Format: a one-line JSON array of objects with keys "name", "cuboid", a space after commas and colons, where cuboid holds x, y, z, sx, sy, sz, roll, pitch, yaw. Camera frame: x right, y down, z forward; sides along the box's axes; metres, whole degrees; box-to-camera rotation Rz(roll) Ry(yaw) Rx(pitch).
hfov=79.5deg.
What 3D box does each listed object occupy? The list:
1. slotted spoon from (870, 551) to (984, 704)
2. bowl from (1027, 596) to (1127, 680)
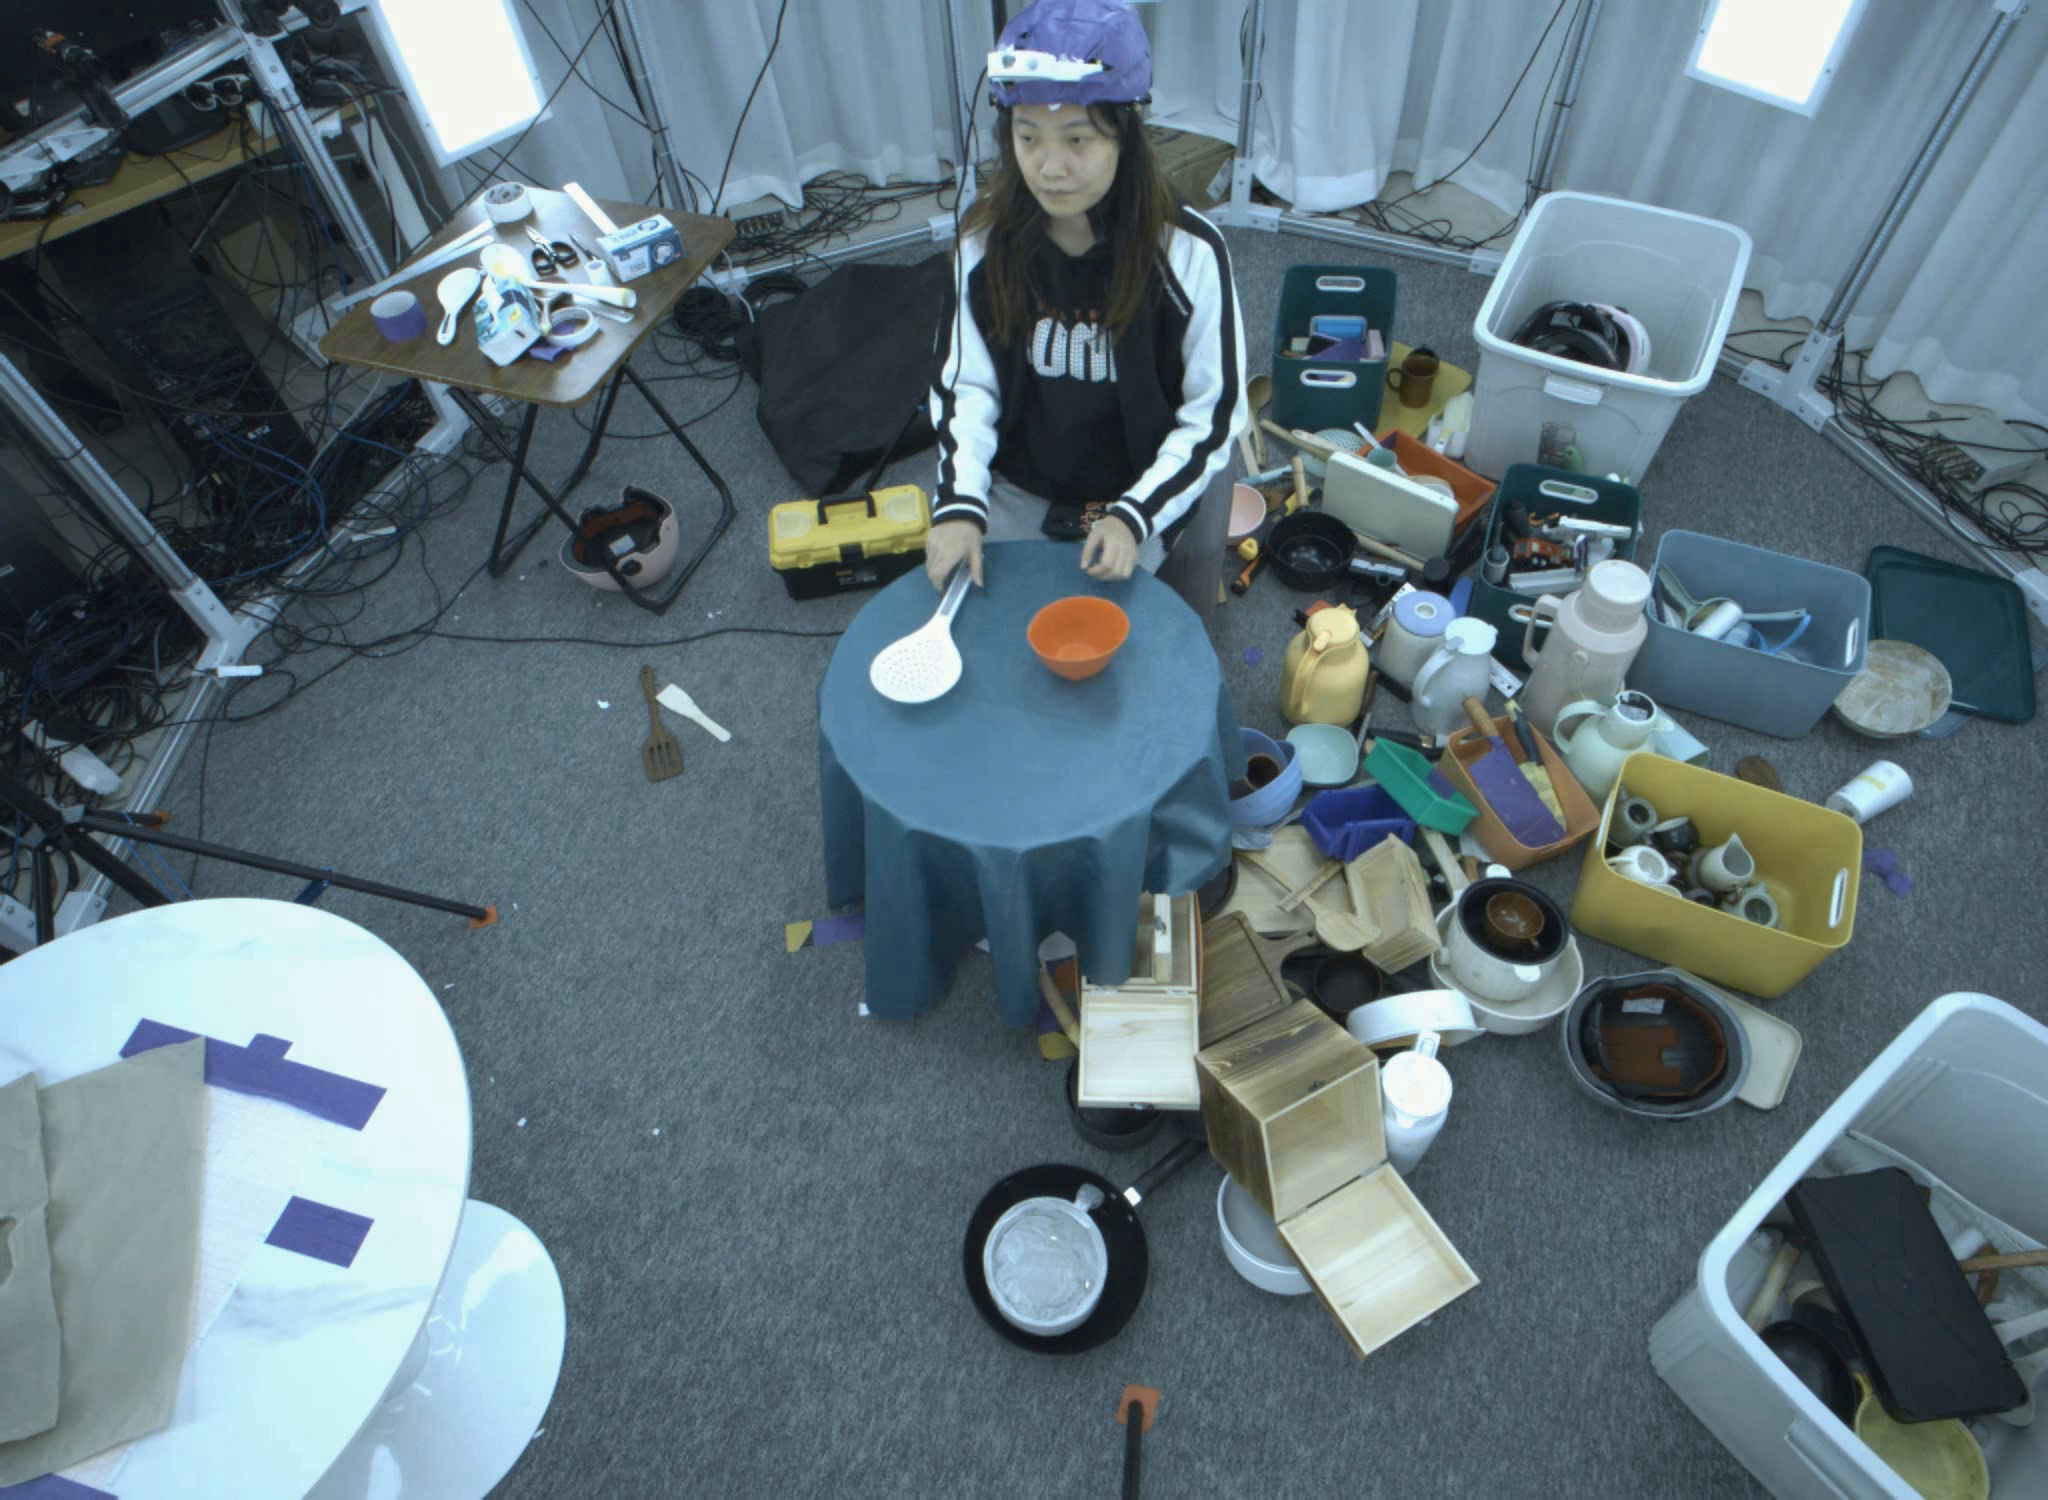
[{"name": "slotted spoon", "cuboid": [-0.130, -0.195, 1.902, 0.135, 0.046, 0.348, 12, 56, 12]}, {"name": "bowl", "cuboid": [0.081, -0.153, 1.832, 0.148, 0.106, 0.146, -2, 54, 4]}]
